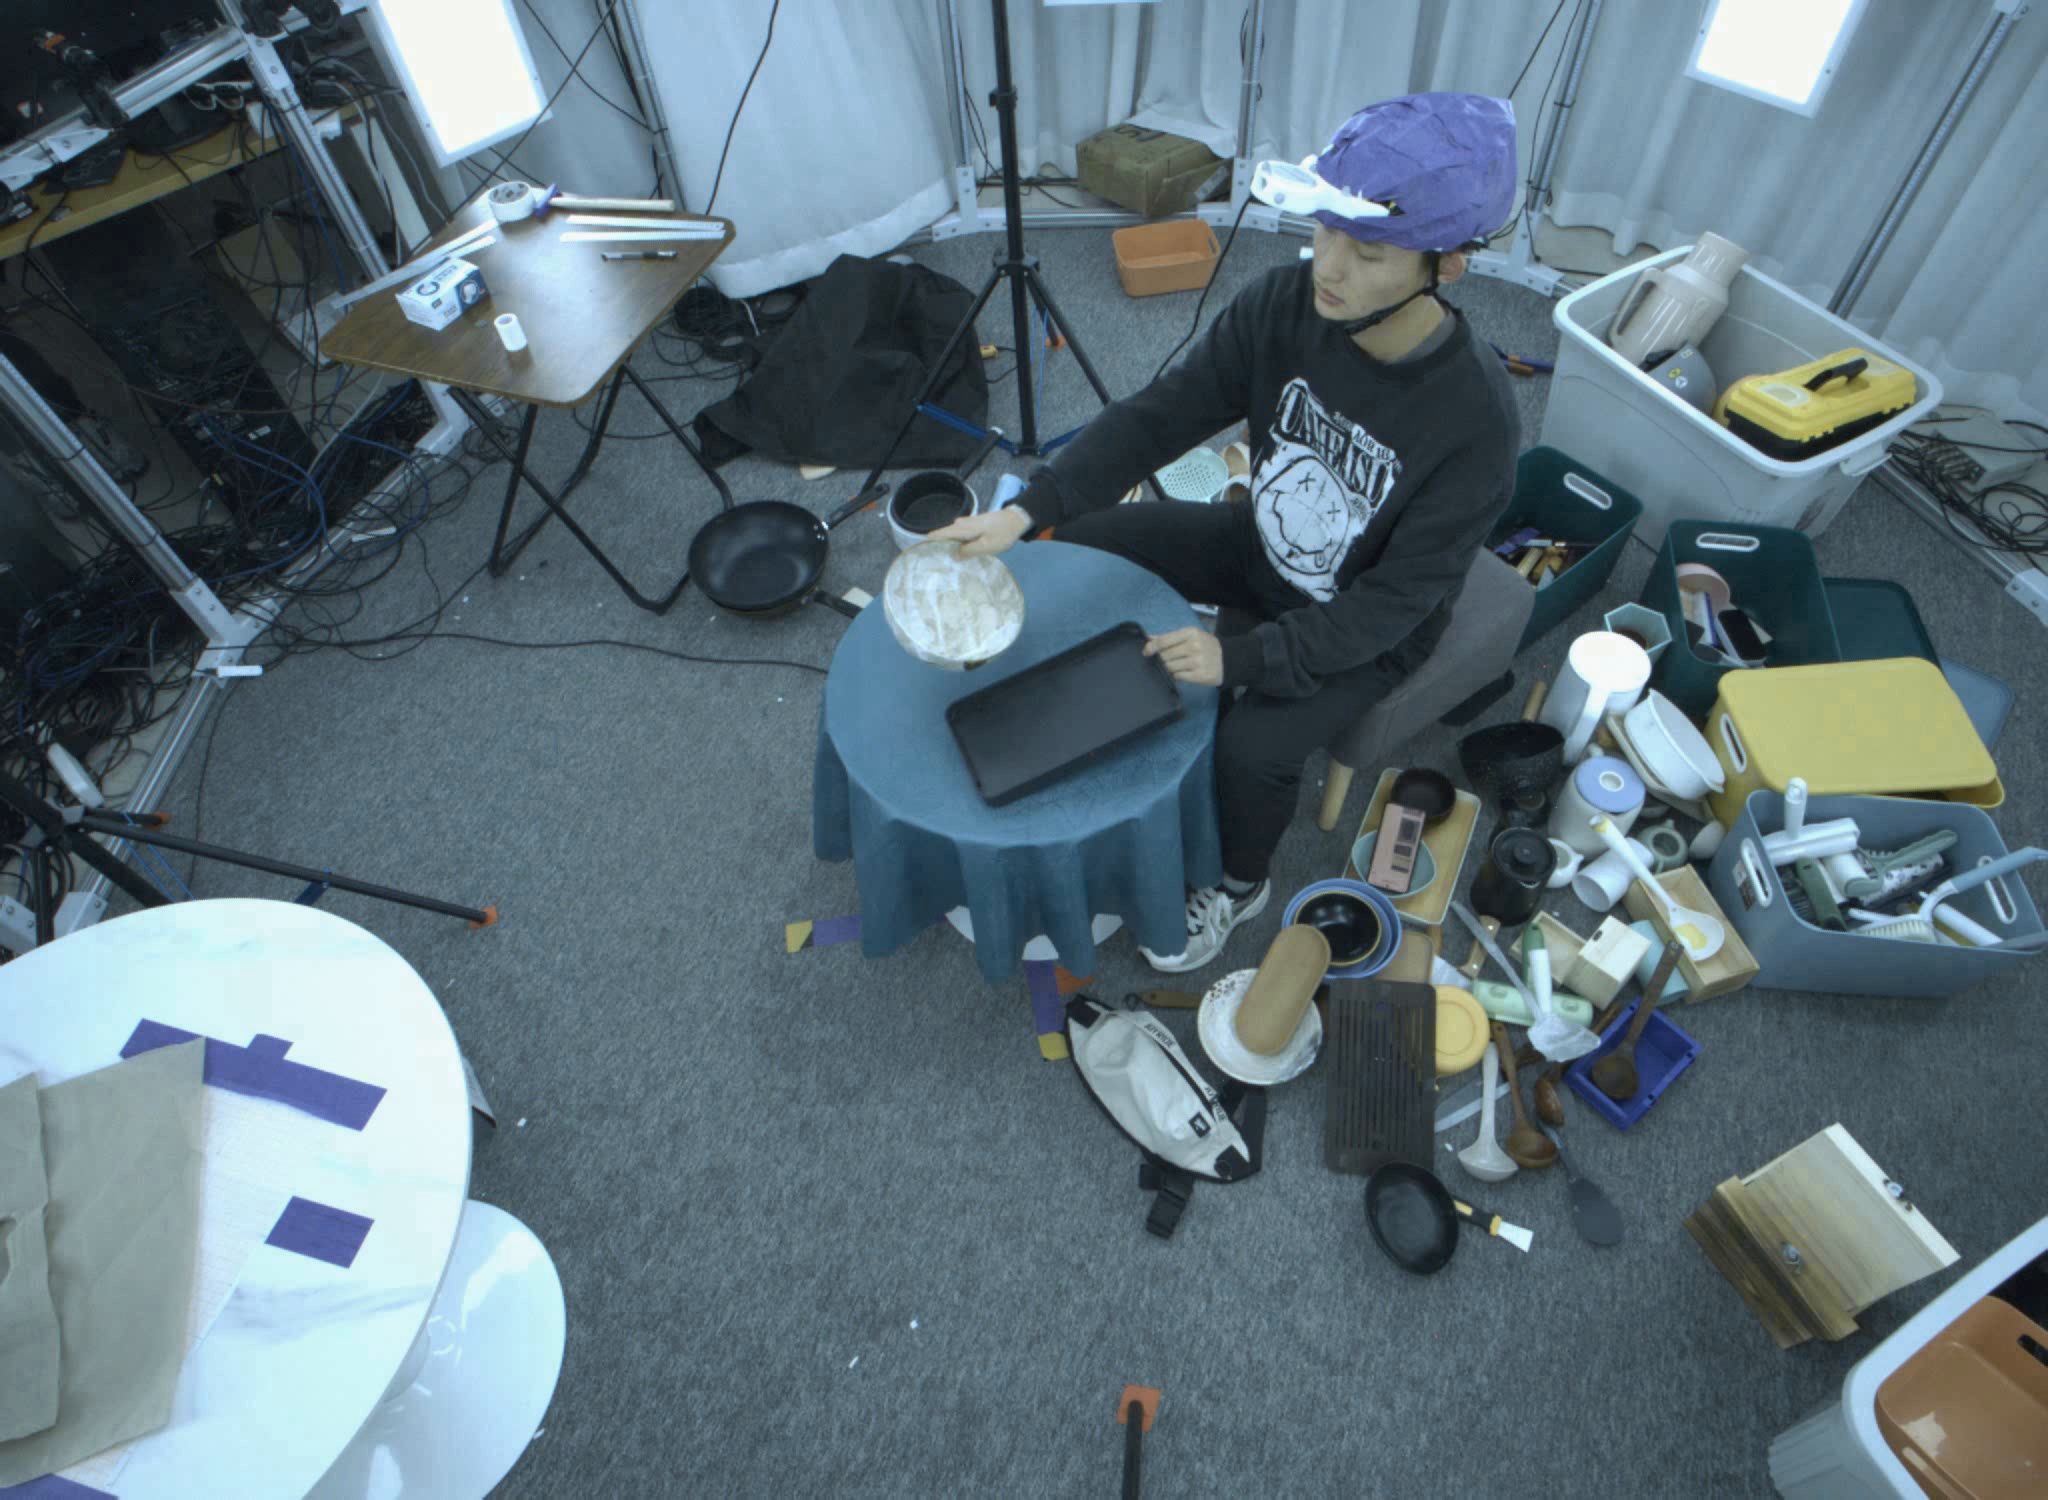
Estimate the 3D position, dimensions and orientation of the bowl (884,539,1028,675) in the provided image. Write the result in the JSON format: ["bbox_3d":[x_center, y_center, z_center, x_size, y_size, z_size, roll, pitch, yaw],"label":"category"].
[{"bbox_3d":[-0.102,-0.187,1.735,0.218,0.094,0.213,10,61,-18],"label":"bowl"}]

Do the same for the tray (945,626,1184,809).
[{"bbox_3d":[0.057,-0.049,1.770,0.318,0.037,0.181,-24,55,-2],"label":"tray"}]
